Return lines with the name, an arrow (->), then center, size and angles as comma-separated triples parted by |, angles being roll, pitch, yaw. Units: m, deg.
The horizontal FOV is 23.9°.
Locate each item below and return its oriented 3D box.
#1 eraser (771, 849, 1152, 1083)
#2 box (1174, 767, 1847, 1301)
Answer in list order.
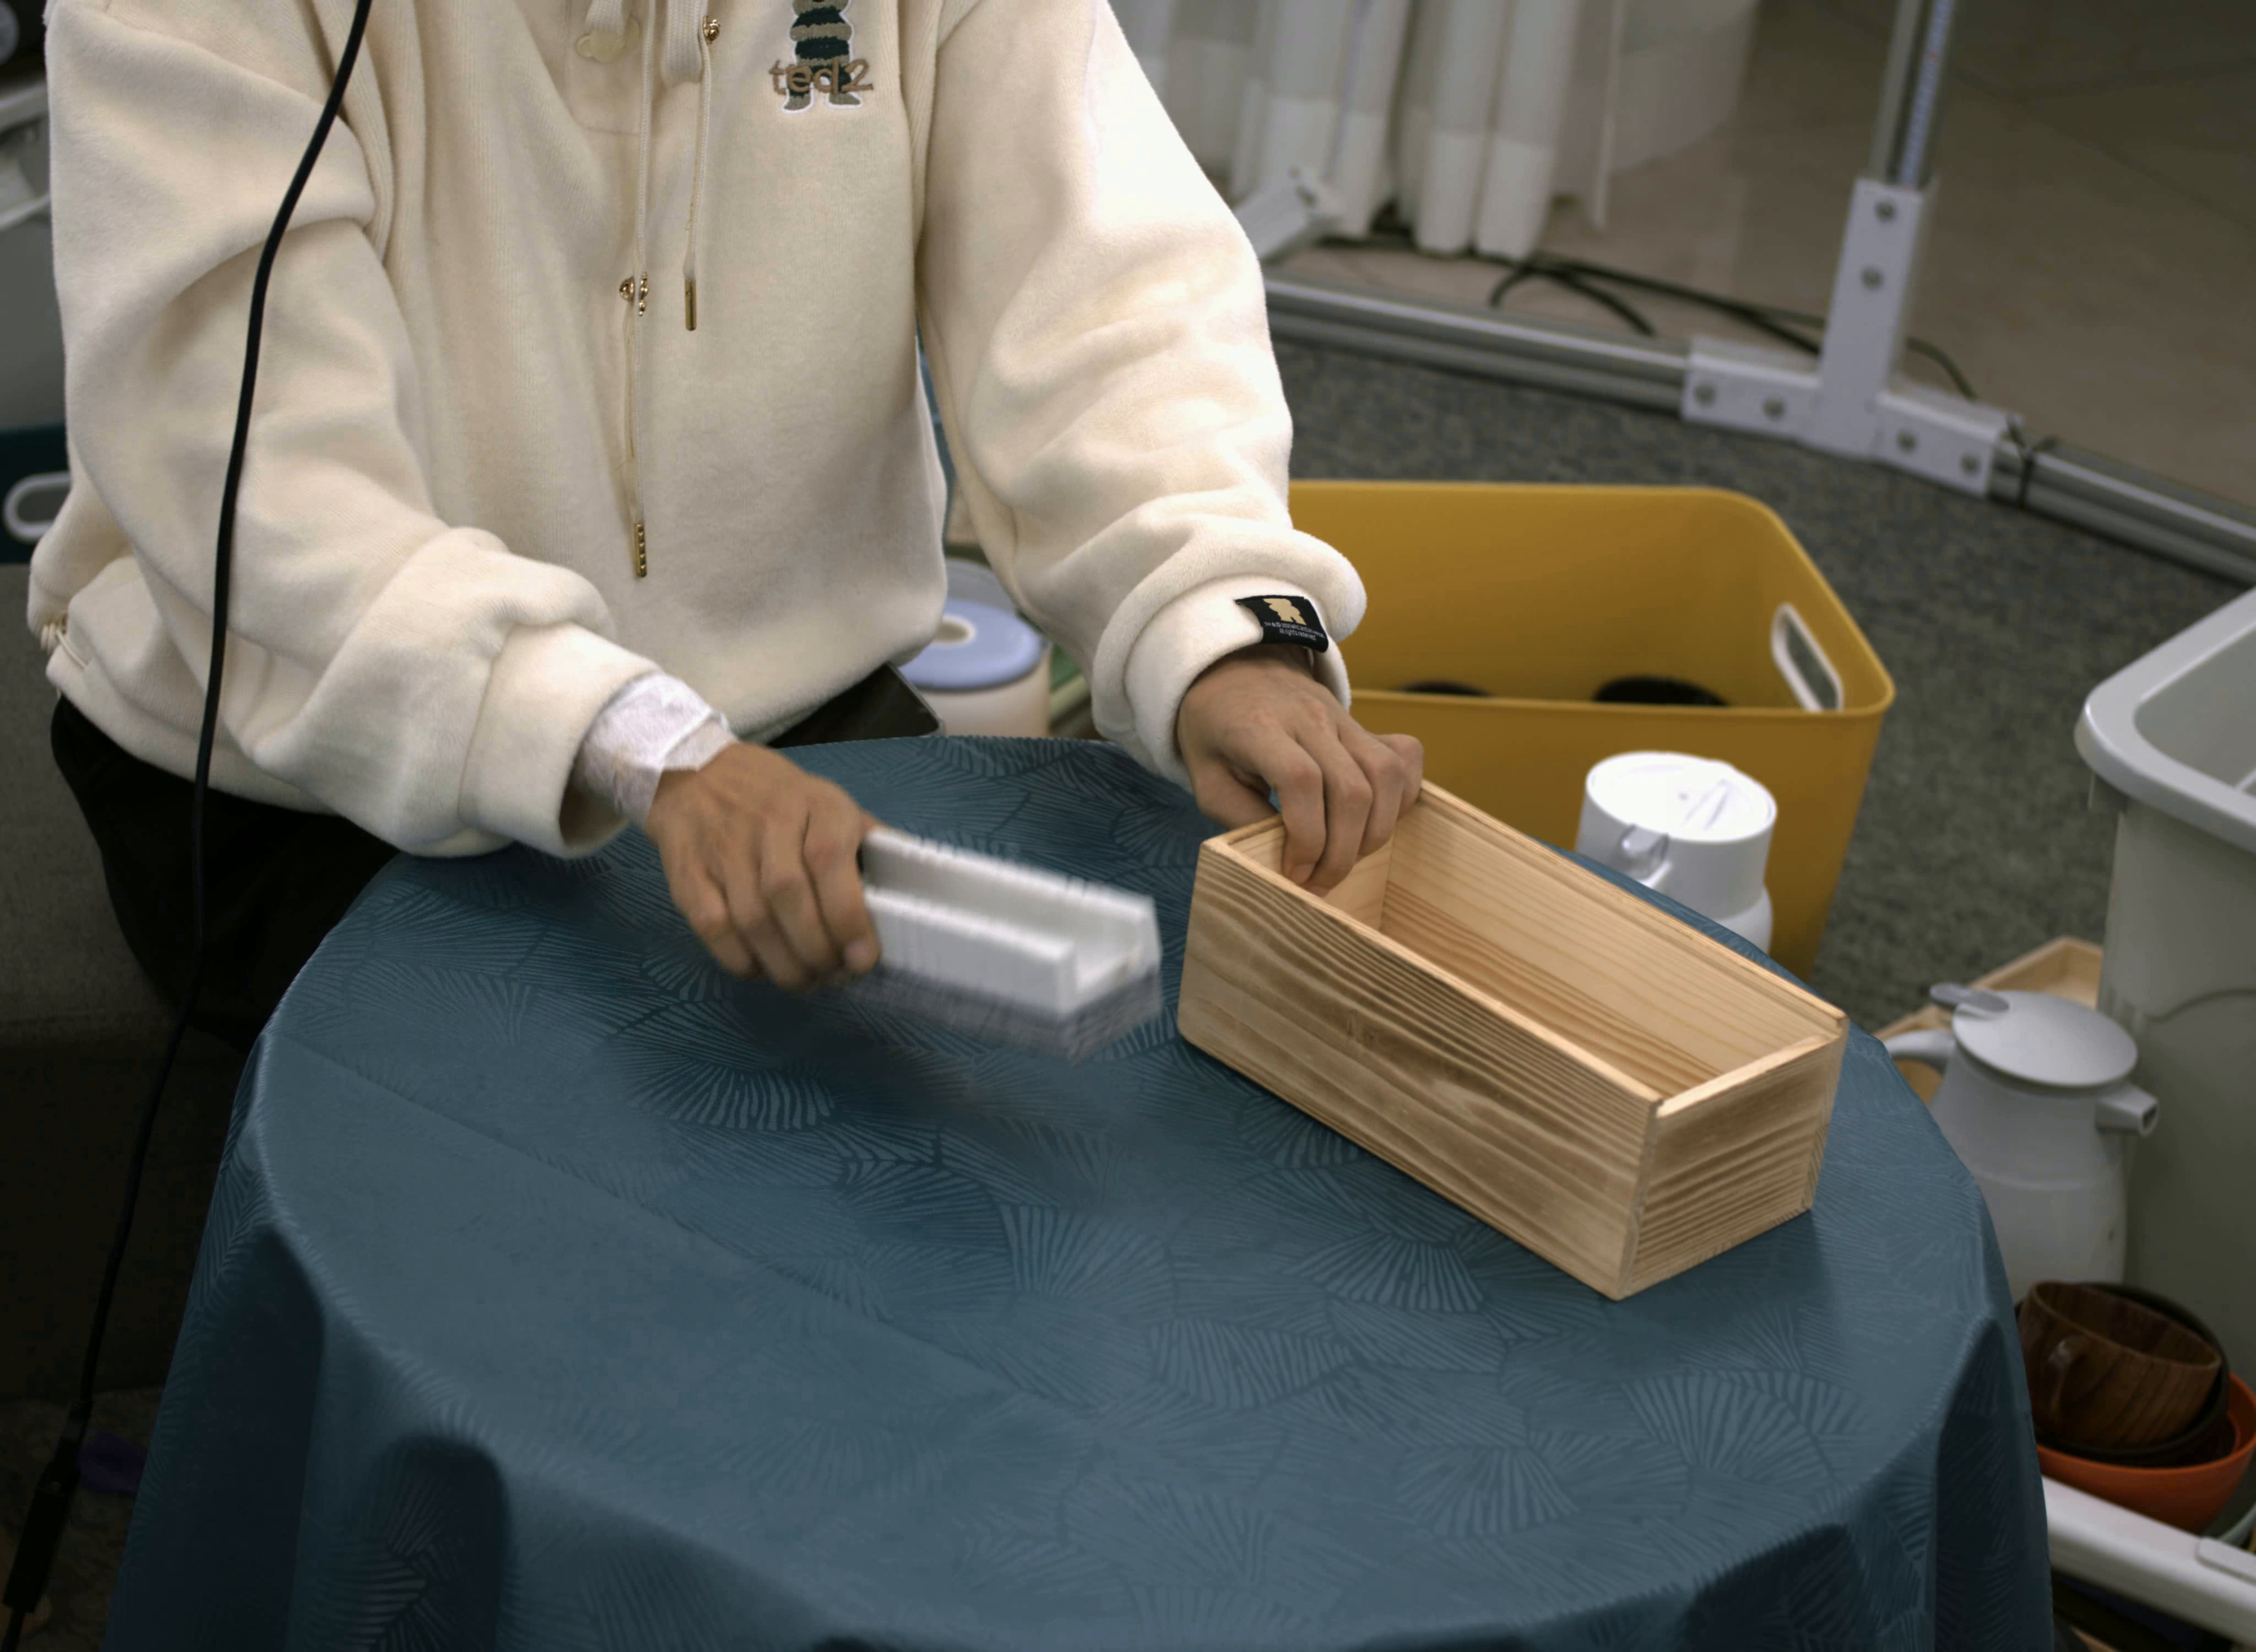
eraser -> -0.057, 0.047, 1.817 | 0.135, 0.046, 0.049 | 15, 32, 40
box -> 0.130, 0.069, 1.849 | 0.107, 0.080, 0.213 | -19, 38, -41
